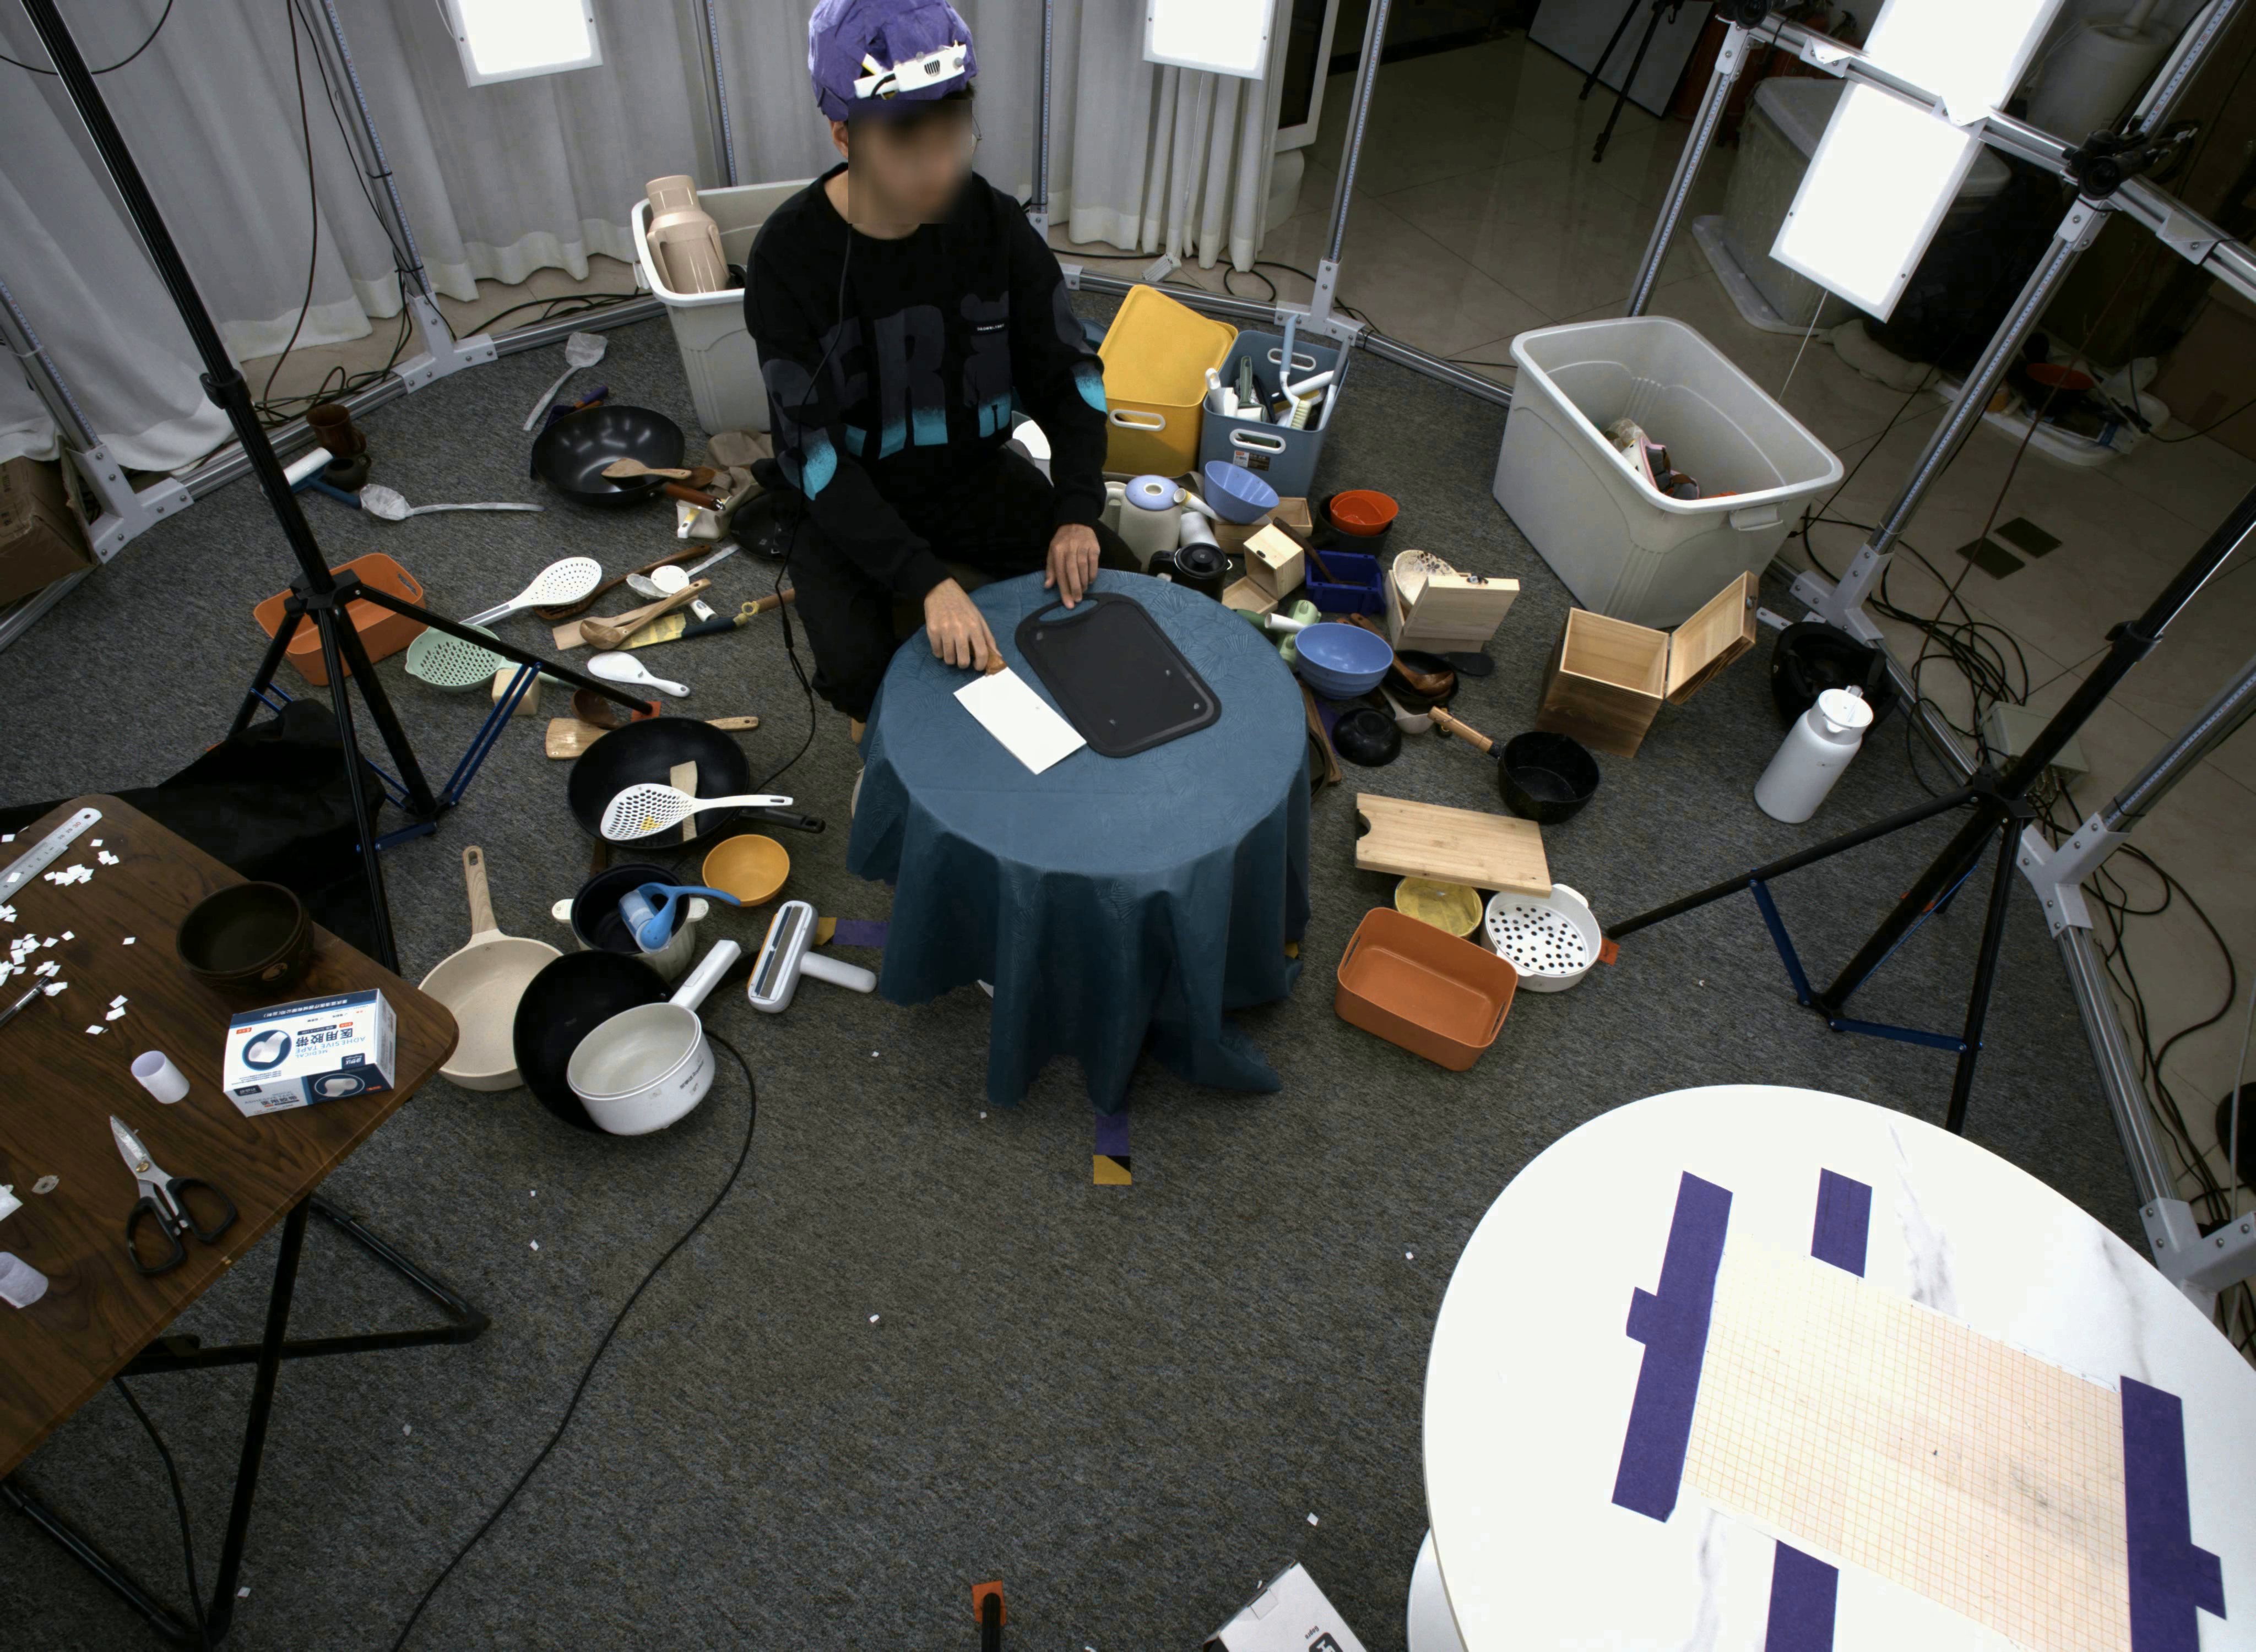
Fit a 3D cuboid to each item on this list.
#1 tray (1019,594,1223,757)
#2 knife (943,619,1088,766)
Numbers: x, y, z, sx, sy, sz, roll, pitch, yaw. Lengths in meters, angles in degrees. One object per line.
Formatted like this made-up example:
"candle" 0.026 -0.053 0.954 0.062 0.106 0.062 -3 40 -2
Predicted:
"tray" -0.018 -0.231 1.863 0.211 0.009 0.332 -21 54 -20
"knife" -0.182 -0.188 1.810 0.093 0.020 0.311 -34 59 -21
